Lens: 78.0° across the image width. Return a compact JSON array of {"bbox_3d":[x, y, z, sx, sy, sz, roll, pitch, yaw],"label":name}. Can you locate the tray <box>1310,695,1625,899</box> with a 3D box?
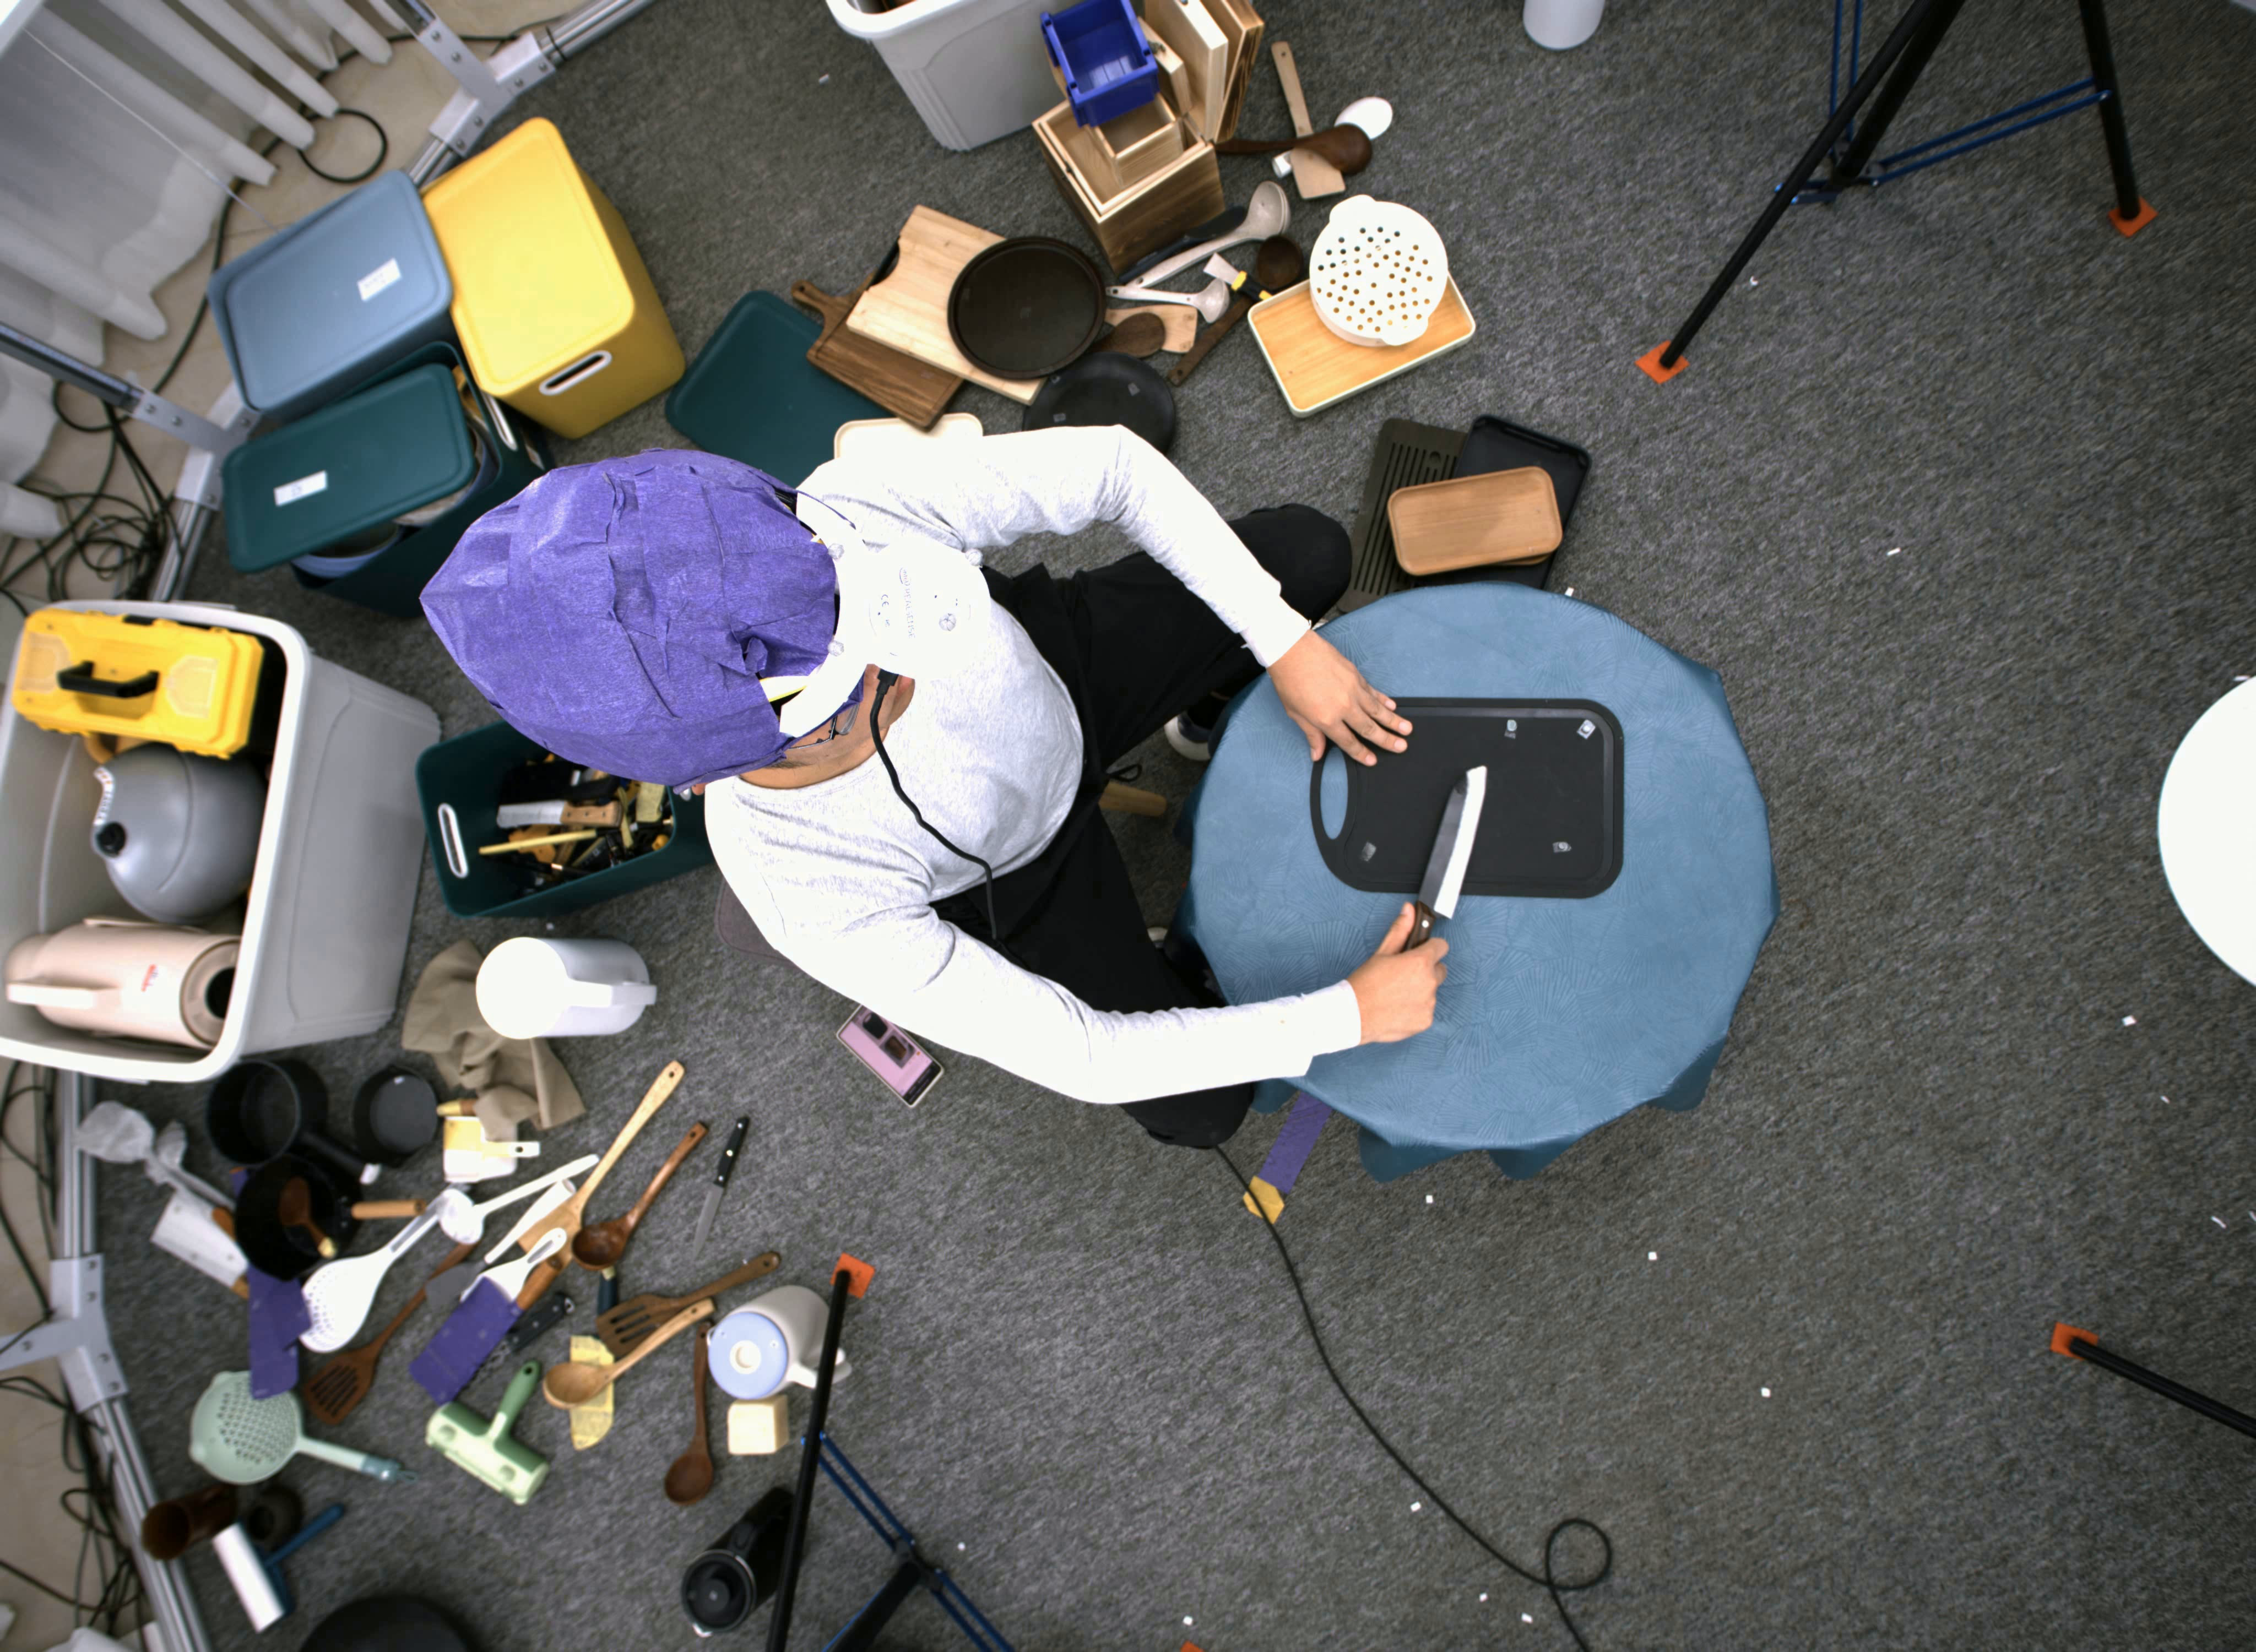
[{"bbox_3d":[0.355,-0.035,1.447,0.326,0.010,0.210,2,87,11],"label":"tray"}]

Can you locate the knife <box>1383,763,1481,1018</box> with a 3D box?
[{"bbox_3d":[0.317,0.063,1.422,0.050,0.020,0.286,24,80,-20],"label":"knife"}]
